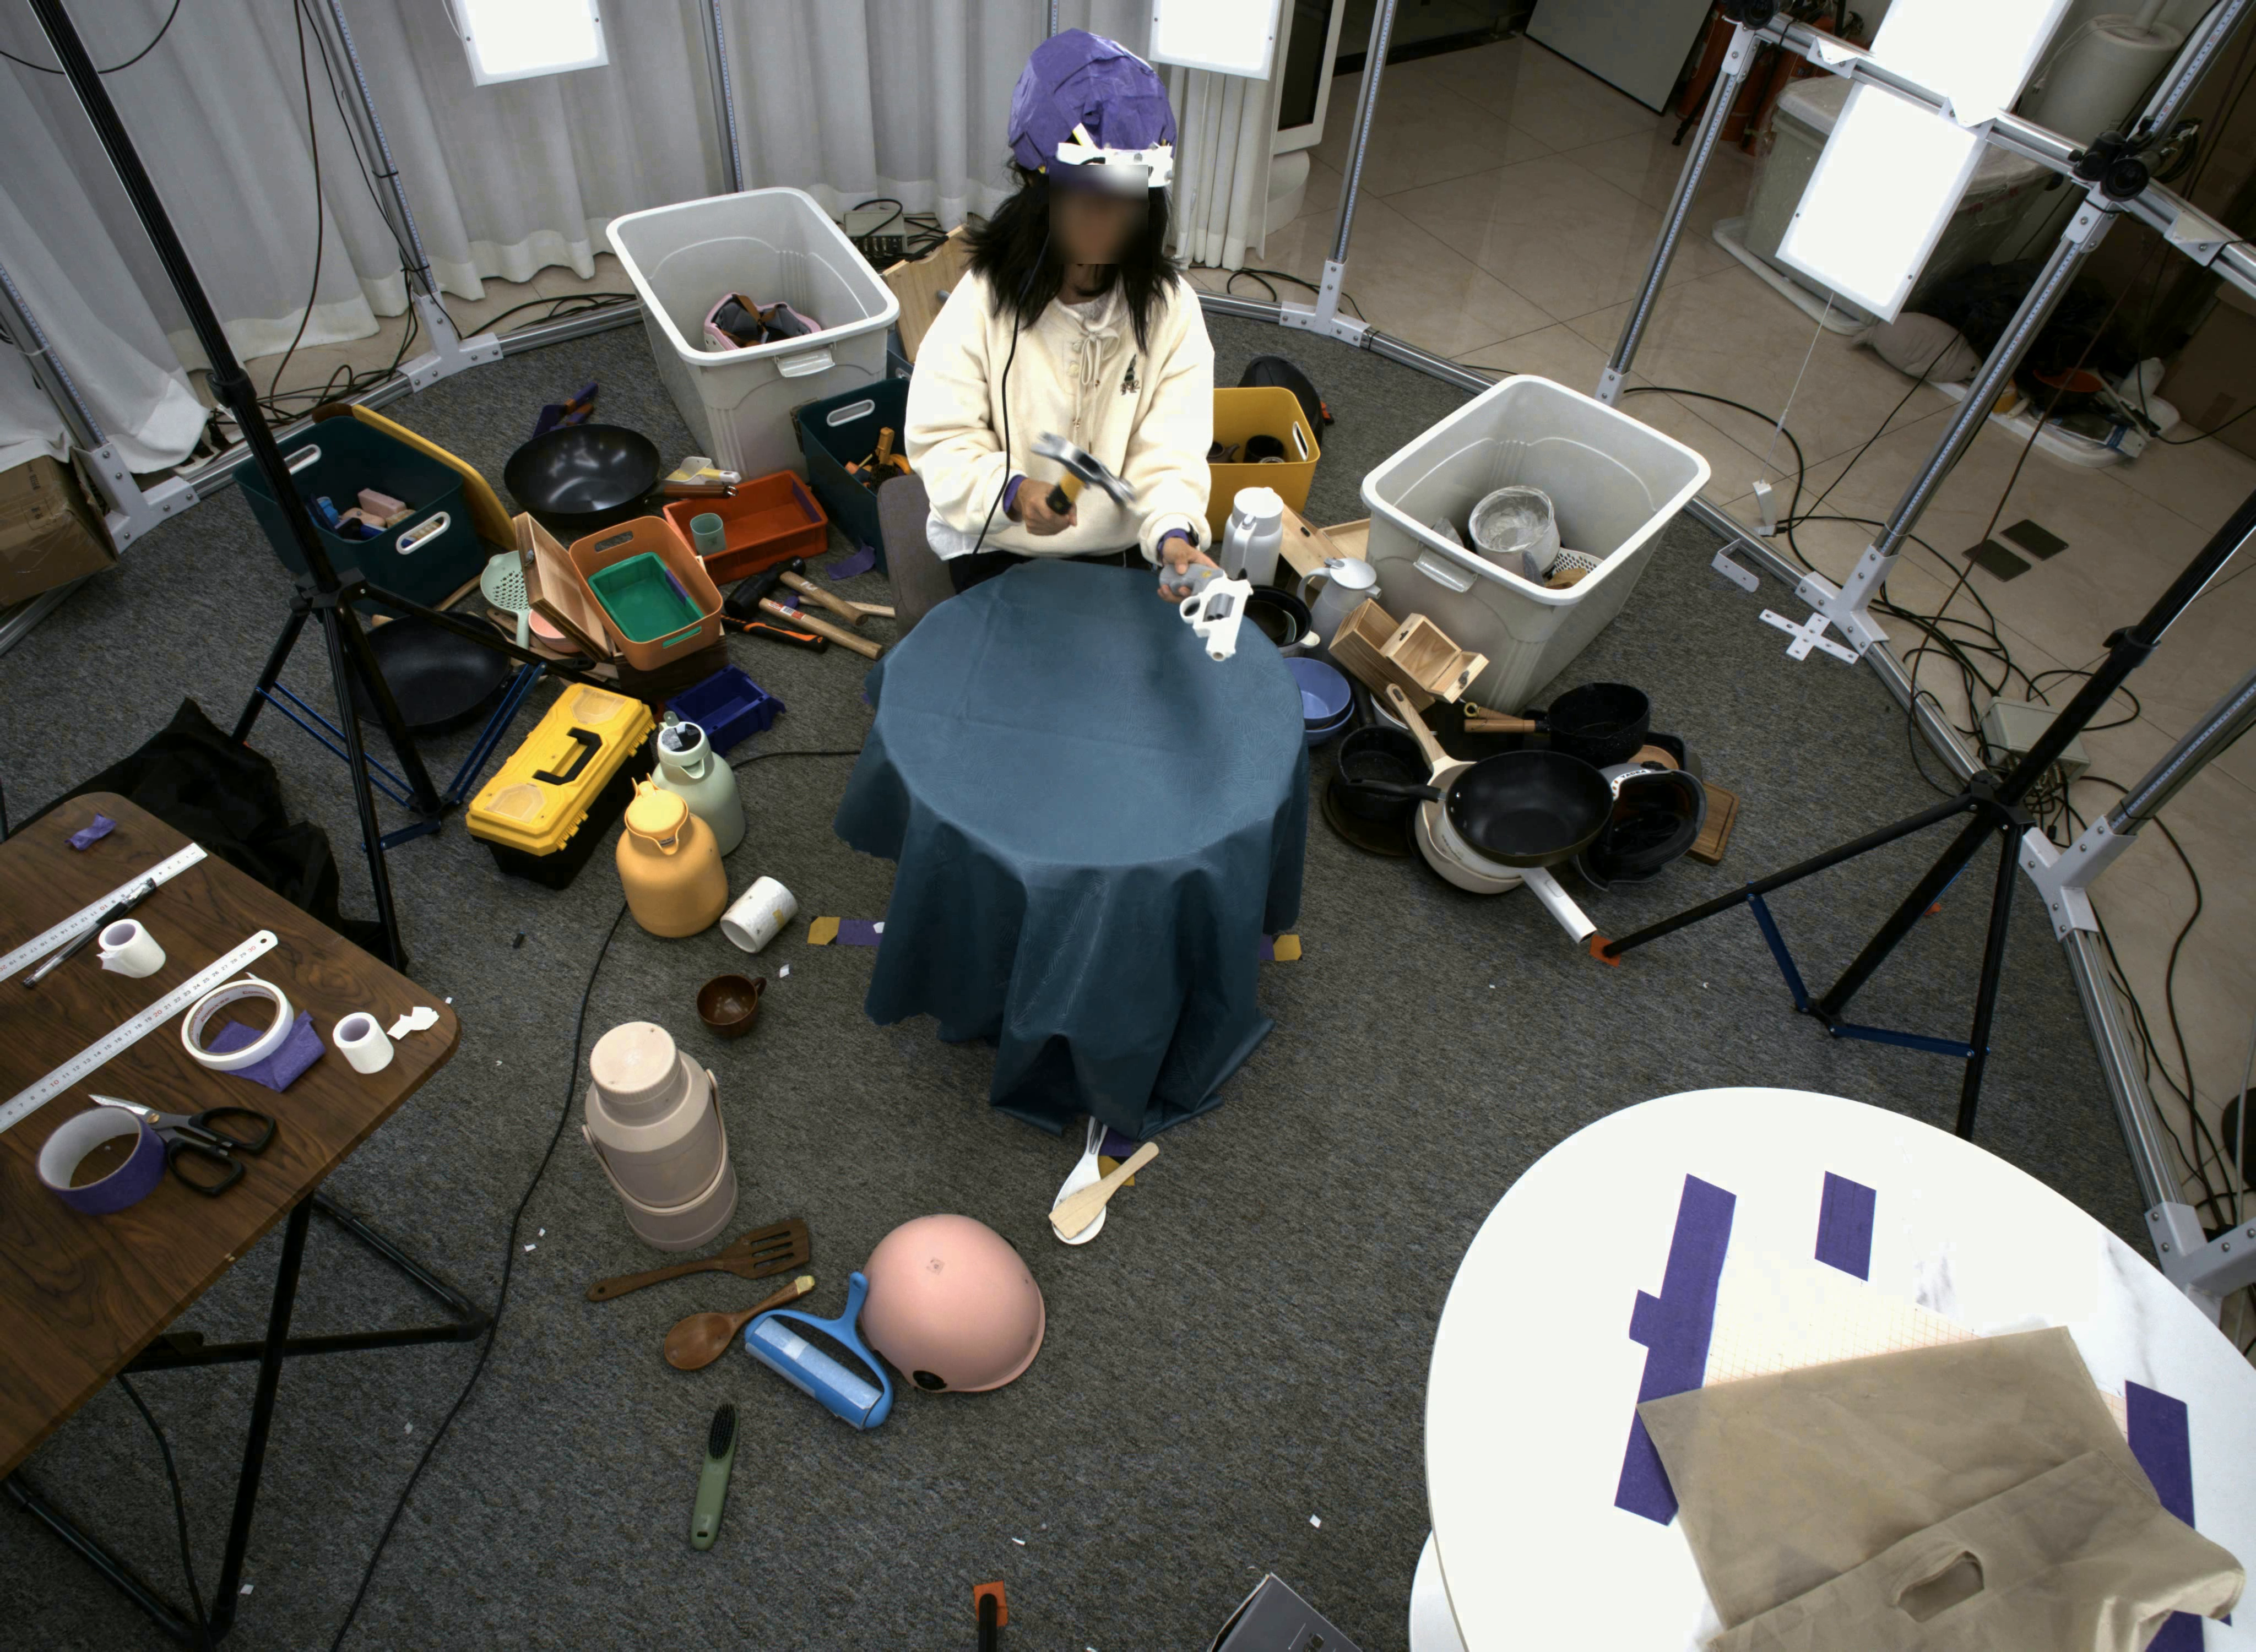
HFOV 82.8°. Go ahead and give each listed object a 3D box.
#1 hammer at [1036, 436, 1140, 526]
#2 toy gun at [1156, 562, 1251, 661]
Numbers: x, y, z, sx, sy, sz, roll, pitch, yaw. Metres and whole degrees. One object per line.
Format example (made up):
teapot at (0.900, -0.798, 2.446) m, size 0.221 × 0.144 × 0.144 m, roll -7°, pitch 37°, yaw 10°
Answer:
hammer at (-0.077, -0.446, 1.731) m, size 0.130 × 0.340 × 0.032 m, roll 34°, pitch 87°, yaw -12°
toy gun at (0.095, -0.297, 1.746) m, size 0.142 × 0.038 × 0.214 m, roll -6°, pitch 46°, yaw 24°
